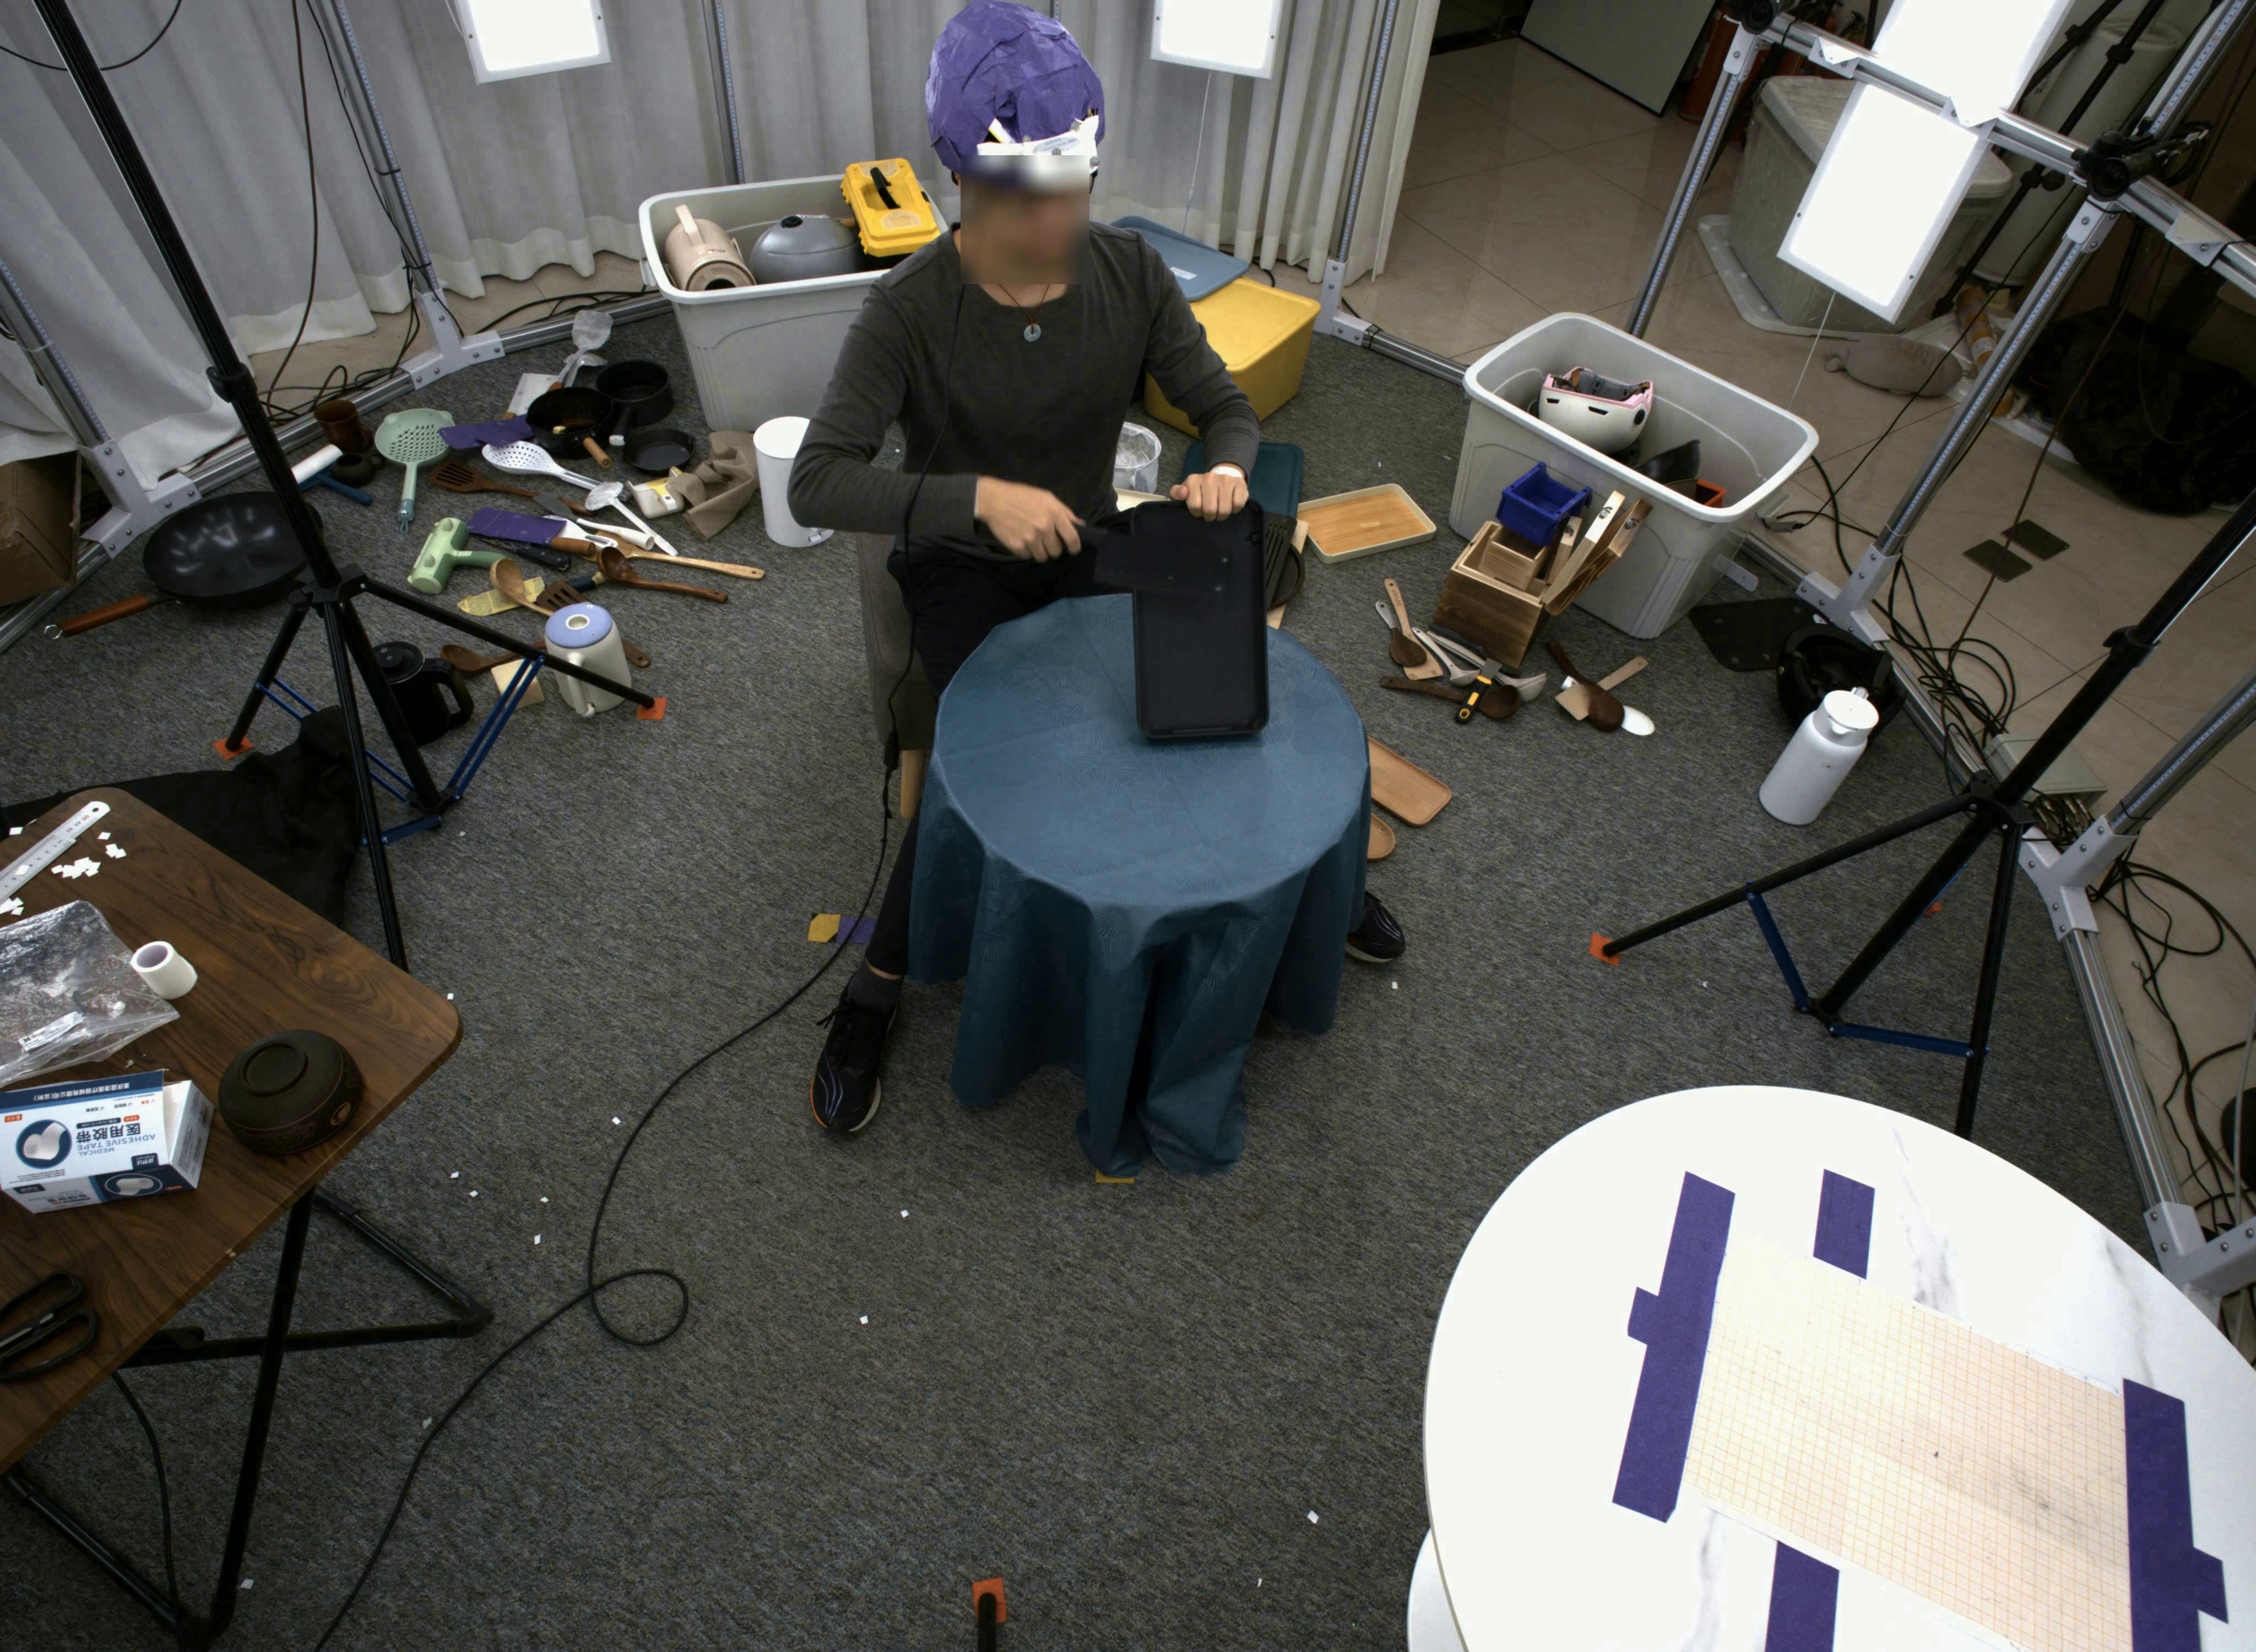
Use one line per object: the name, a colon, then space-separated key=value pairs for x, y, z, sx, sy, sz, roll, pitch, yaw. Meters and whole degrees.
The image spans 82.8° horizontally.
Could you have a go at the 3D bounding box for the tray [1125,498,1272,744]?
tray: x=0.096 y=-0.277 z=1.747 sx=0.184 sy=0.315 sz=0.037 roll=-6 pitch=10 yaw=-7

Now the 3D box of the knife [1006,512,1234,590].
knife: x=-0.011 y=-0.366 z=1.702 sx=0.302 sy=0.080 sz=0.021 roll=13 pitch=10 yaw=-2
